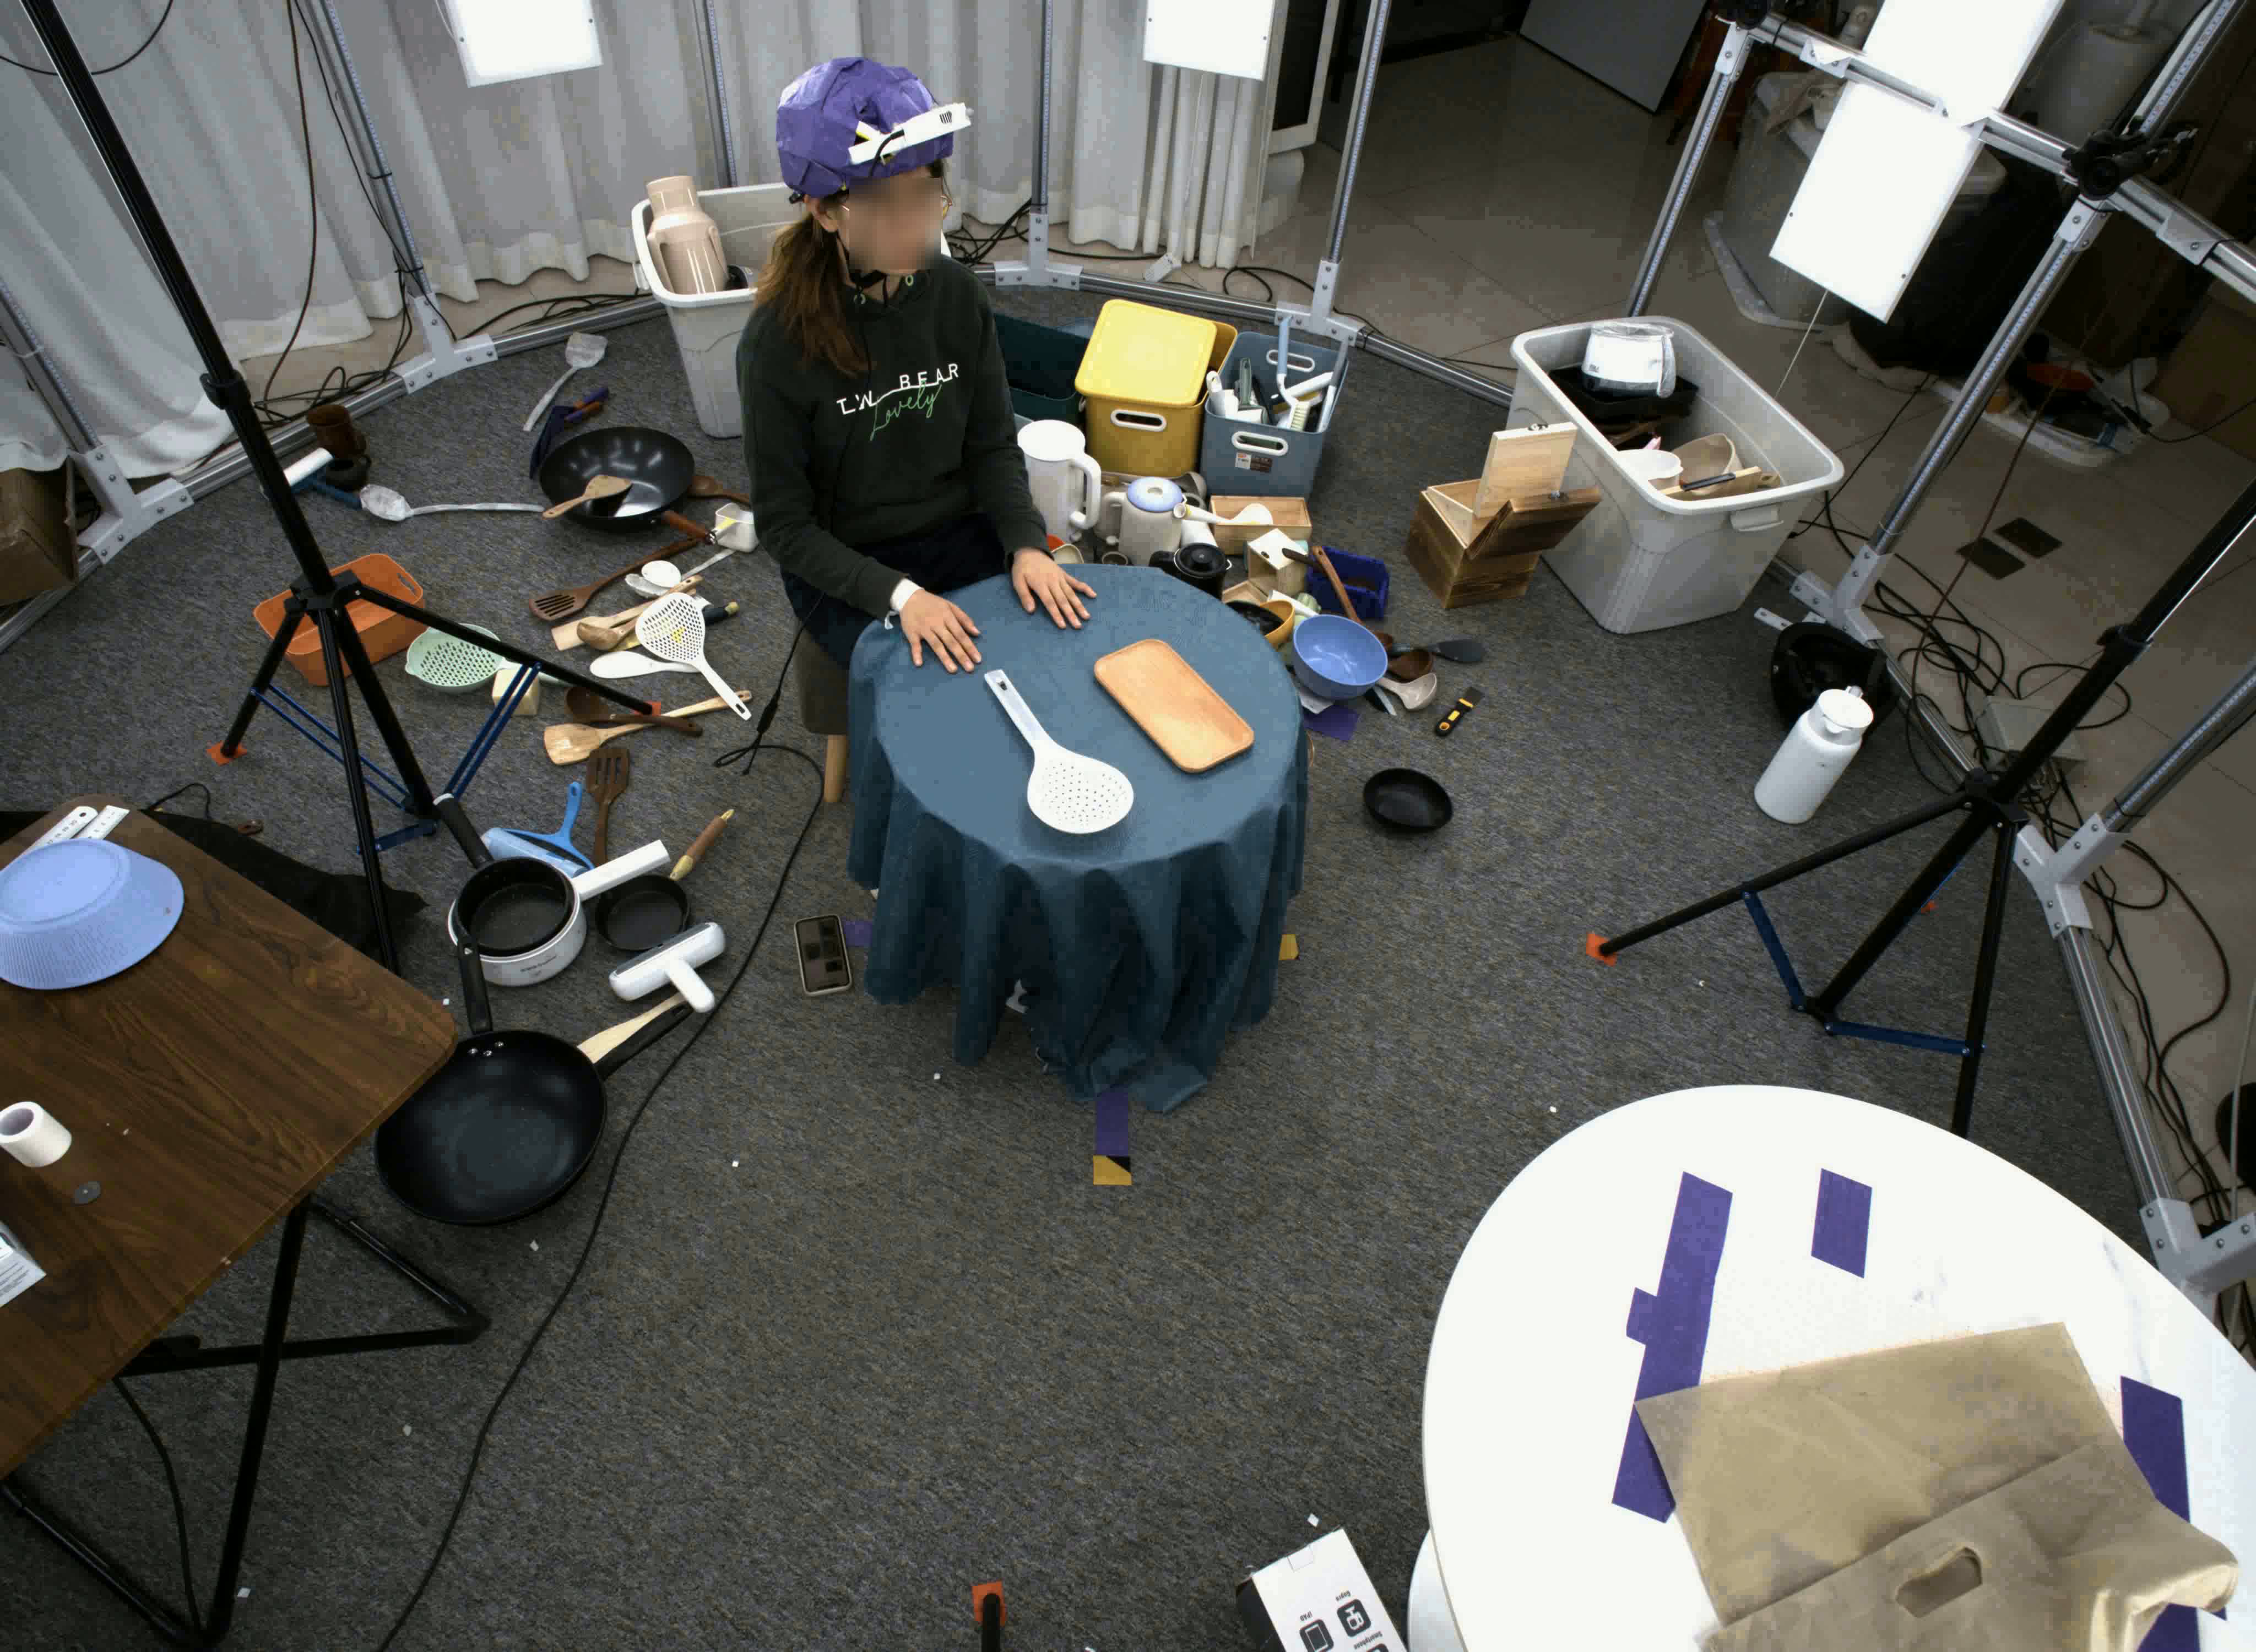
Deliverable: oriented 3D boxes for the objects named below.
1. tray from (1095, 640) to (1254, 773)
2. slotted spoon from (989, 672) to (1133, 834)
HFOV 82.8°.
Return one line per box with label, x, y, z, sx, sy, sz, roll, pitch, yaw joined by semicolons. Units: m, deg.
tray;0.063;-0.173;1.828;0.131;0.022;0.256;-24;54;-25
slotted spoon;-0.111;-0.104;1.737;0.136;0.044;0.357;-17;51;-21
